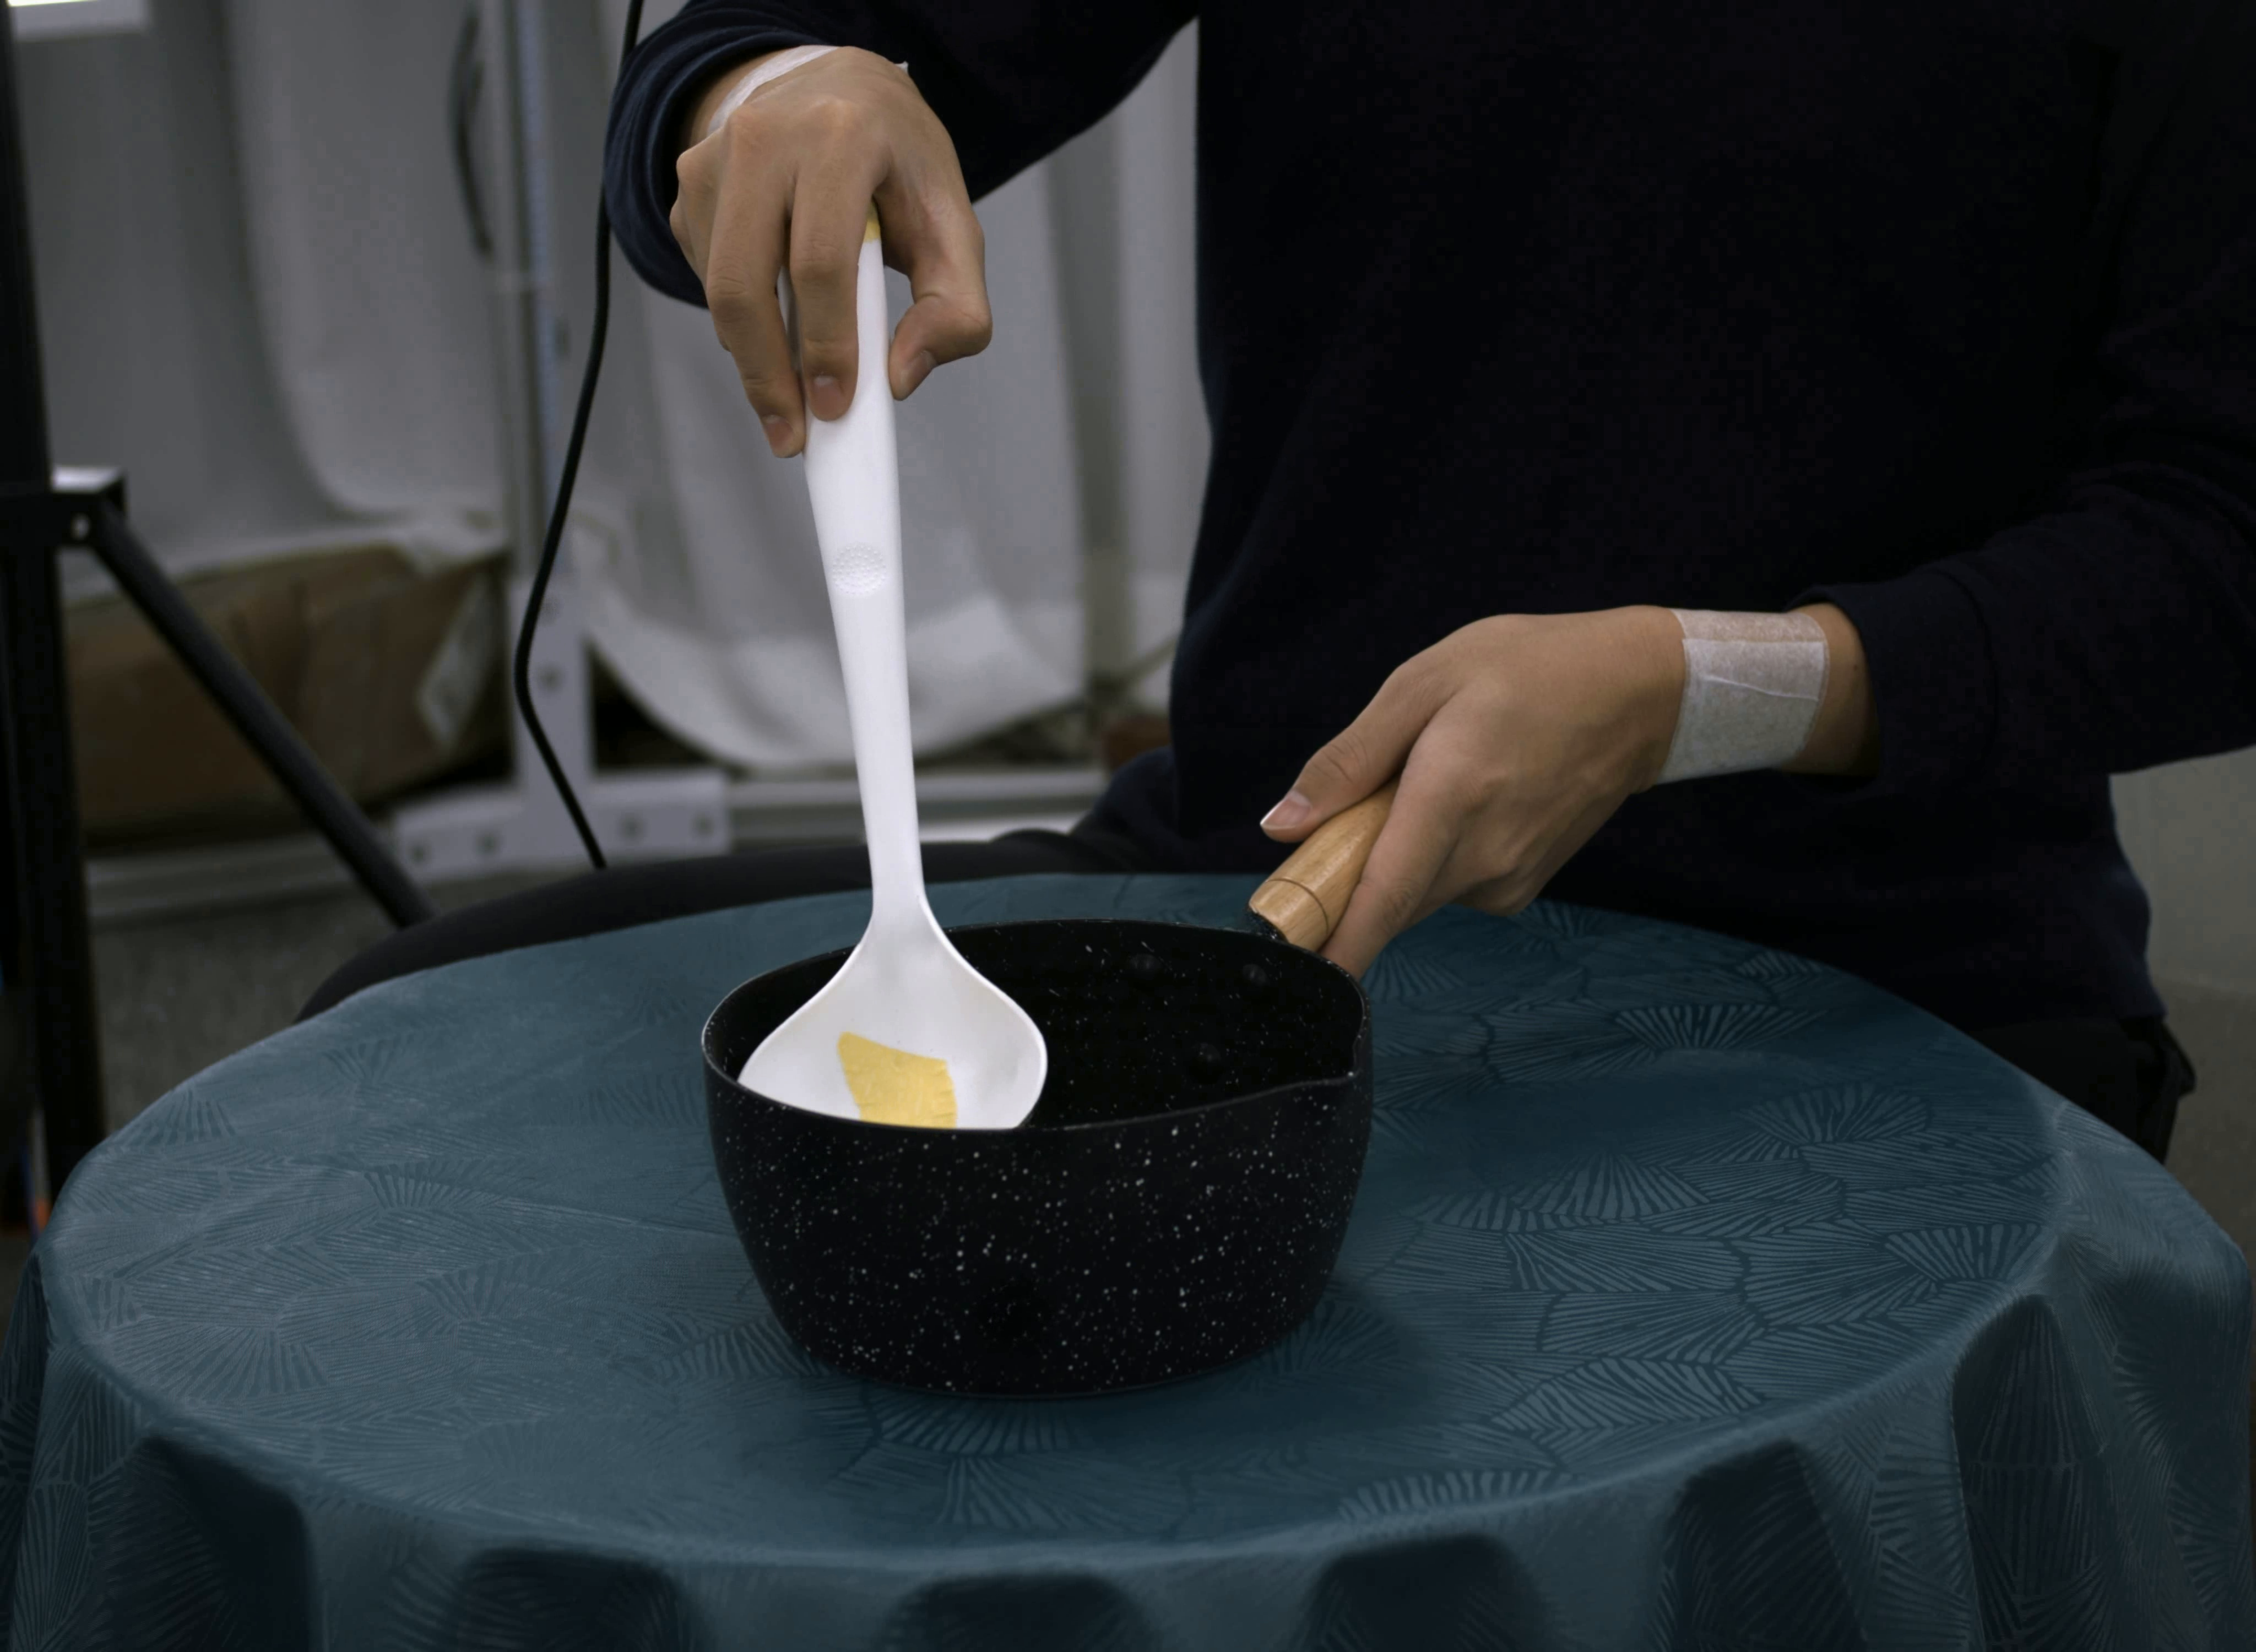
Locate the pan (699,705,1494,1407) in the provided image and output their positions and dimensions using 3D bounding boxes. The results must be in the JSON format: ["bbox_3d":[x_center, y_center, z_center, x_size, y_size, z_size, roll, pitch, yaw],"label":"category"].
[{"bbox_3d":[0.016,0.061,1.522,0.211,0.108,0.337,6,20,31],"label":"pan"}]

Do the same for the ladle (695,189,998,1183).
[{"bbox_3d":[-0.083,-0.040,1.495,0.091,0.295,0.068,-9,-12,20],"label":"ladle"}]
